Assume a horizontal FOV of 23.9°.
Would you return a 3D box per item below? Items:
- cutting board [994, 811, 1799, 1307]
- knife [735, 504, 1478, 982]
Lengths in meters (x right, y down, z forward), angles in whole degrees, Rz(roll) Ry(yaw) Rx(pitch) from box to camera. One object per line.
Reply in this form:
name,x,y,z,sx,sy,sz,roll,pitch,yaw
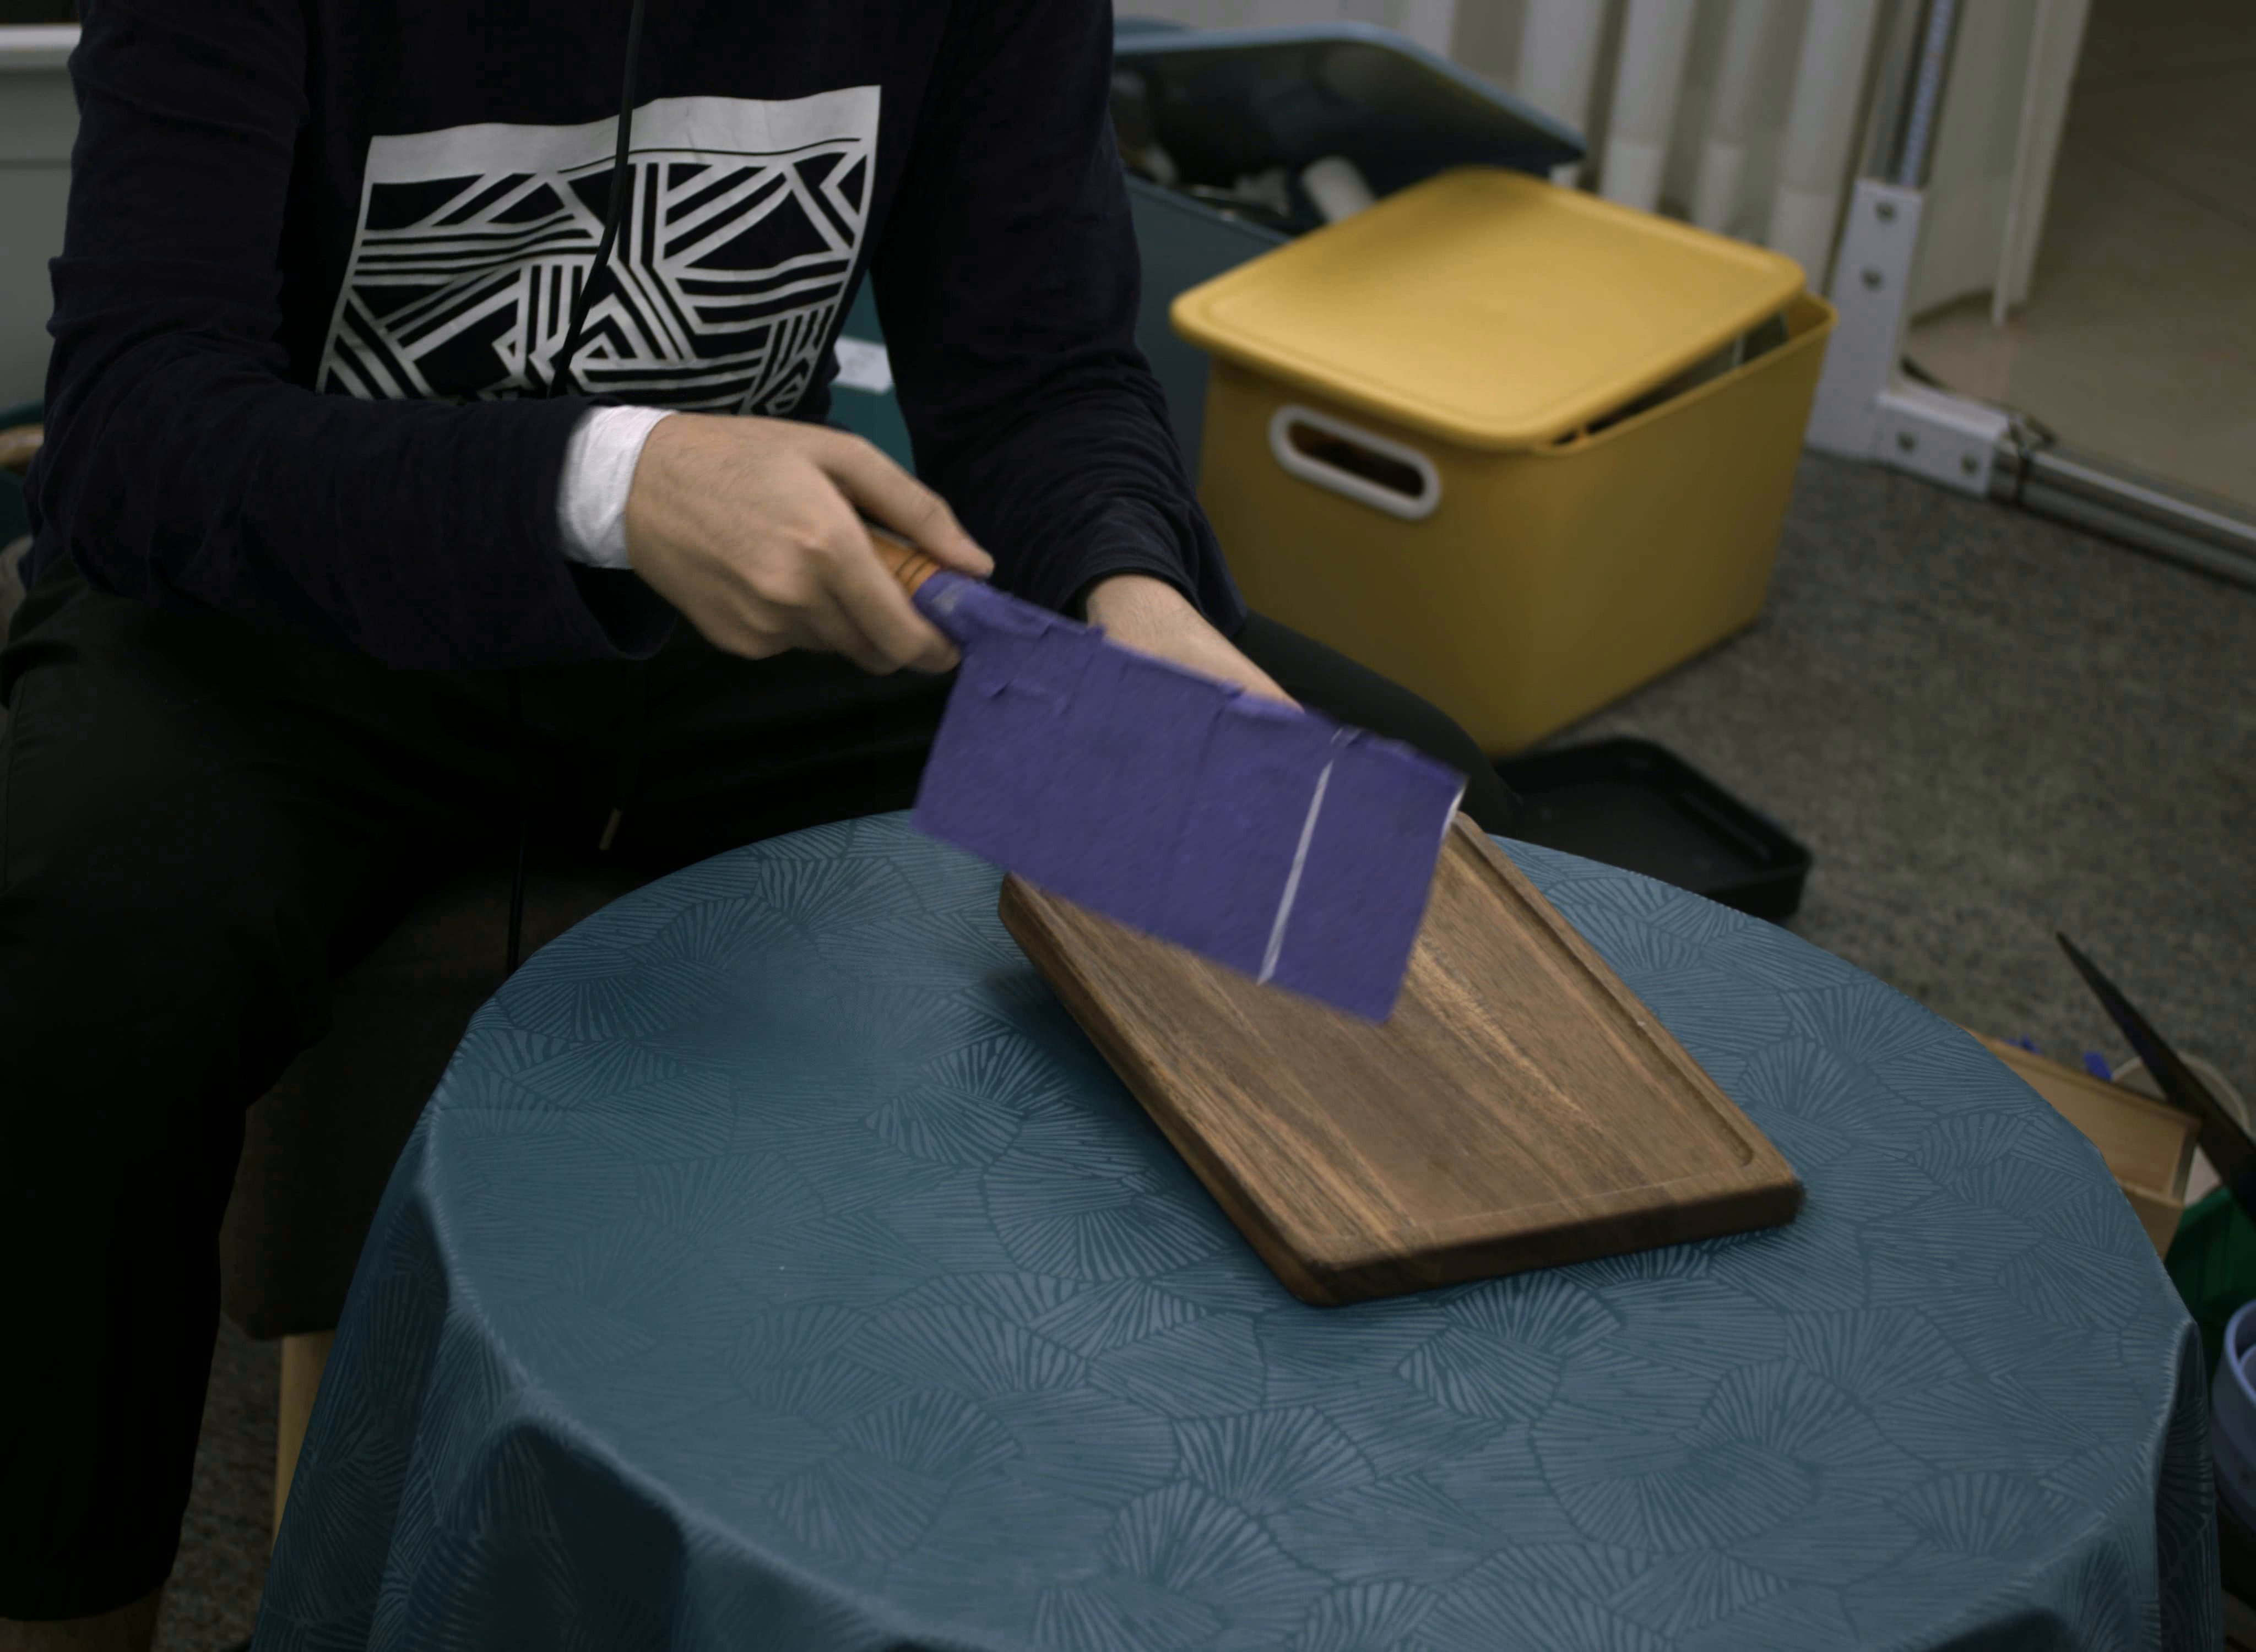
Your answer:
cutting board,0.070,0.050,1.914,0.200,0.023,0.355,-8,34,-26
knife,-0.021,-0.029,1.844,0.317,0.104,0.032,21,7,35
